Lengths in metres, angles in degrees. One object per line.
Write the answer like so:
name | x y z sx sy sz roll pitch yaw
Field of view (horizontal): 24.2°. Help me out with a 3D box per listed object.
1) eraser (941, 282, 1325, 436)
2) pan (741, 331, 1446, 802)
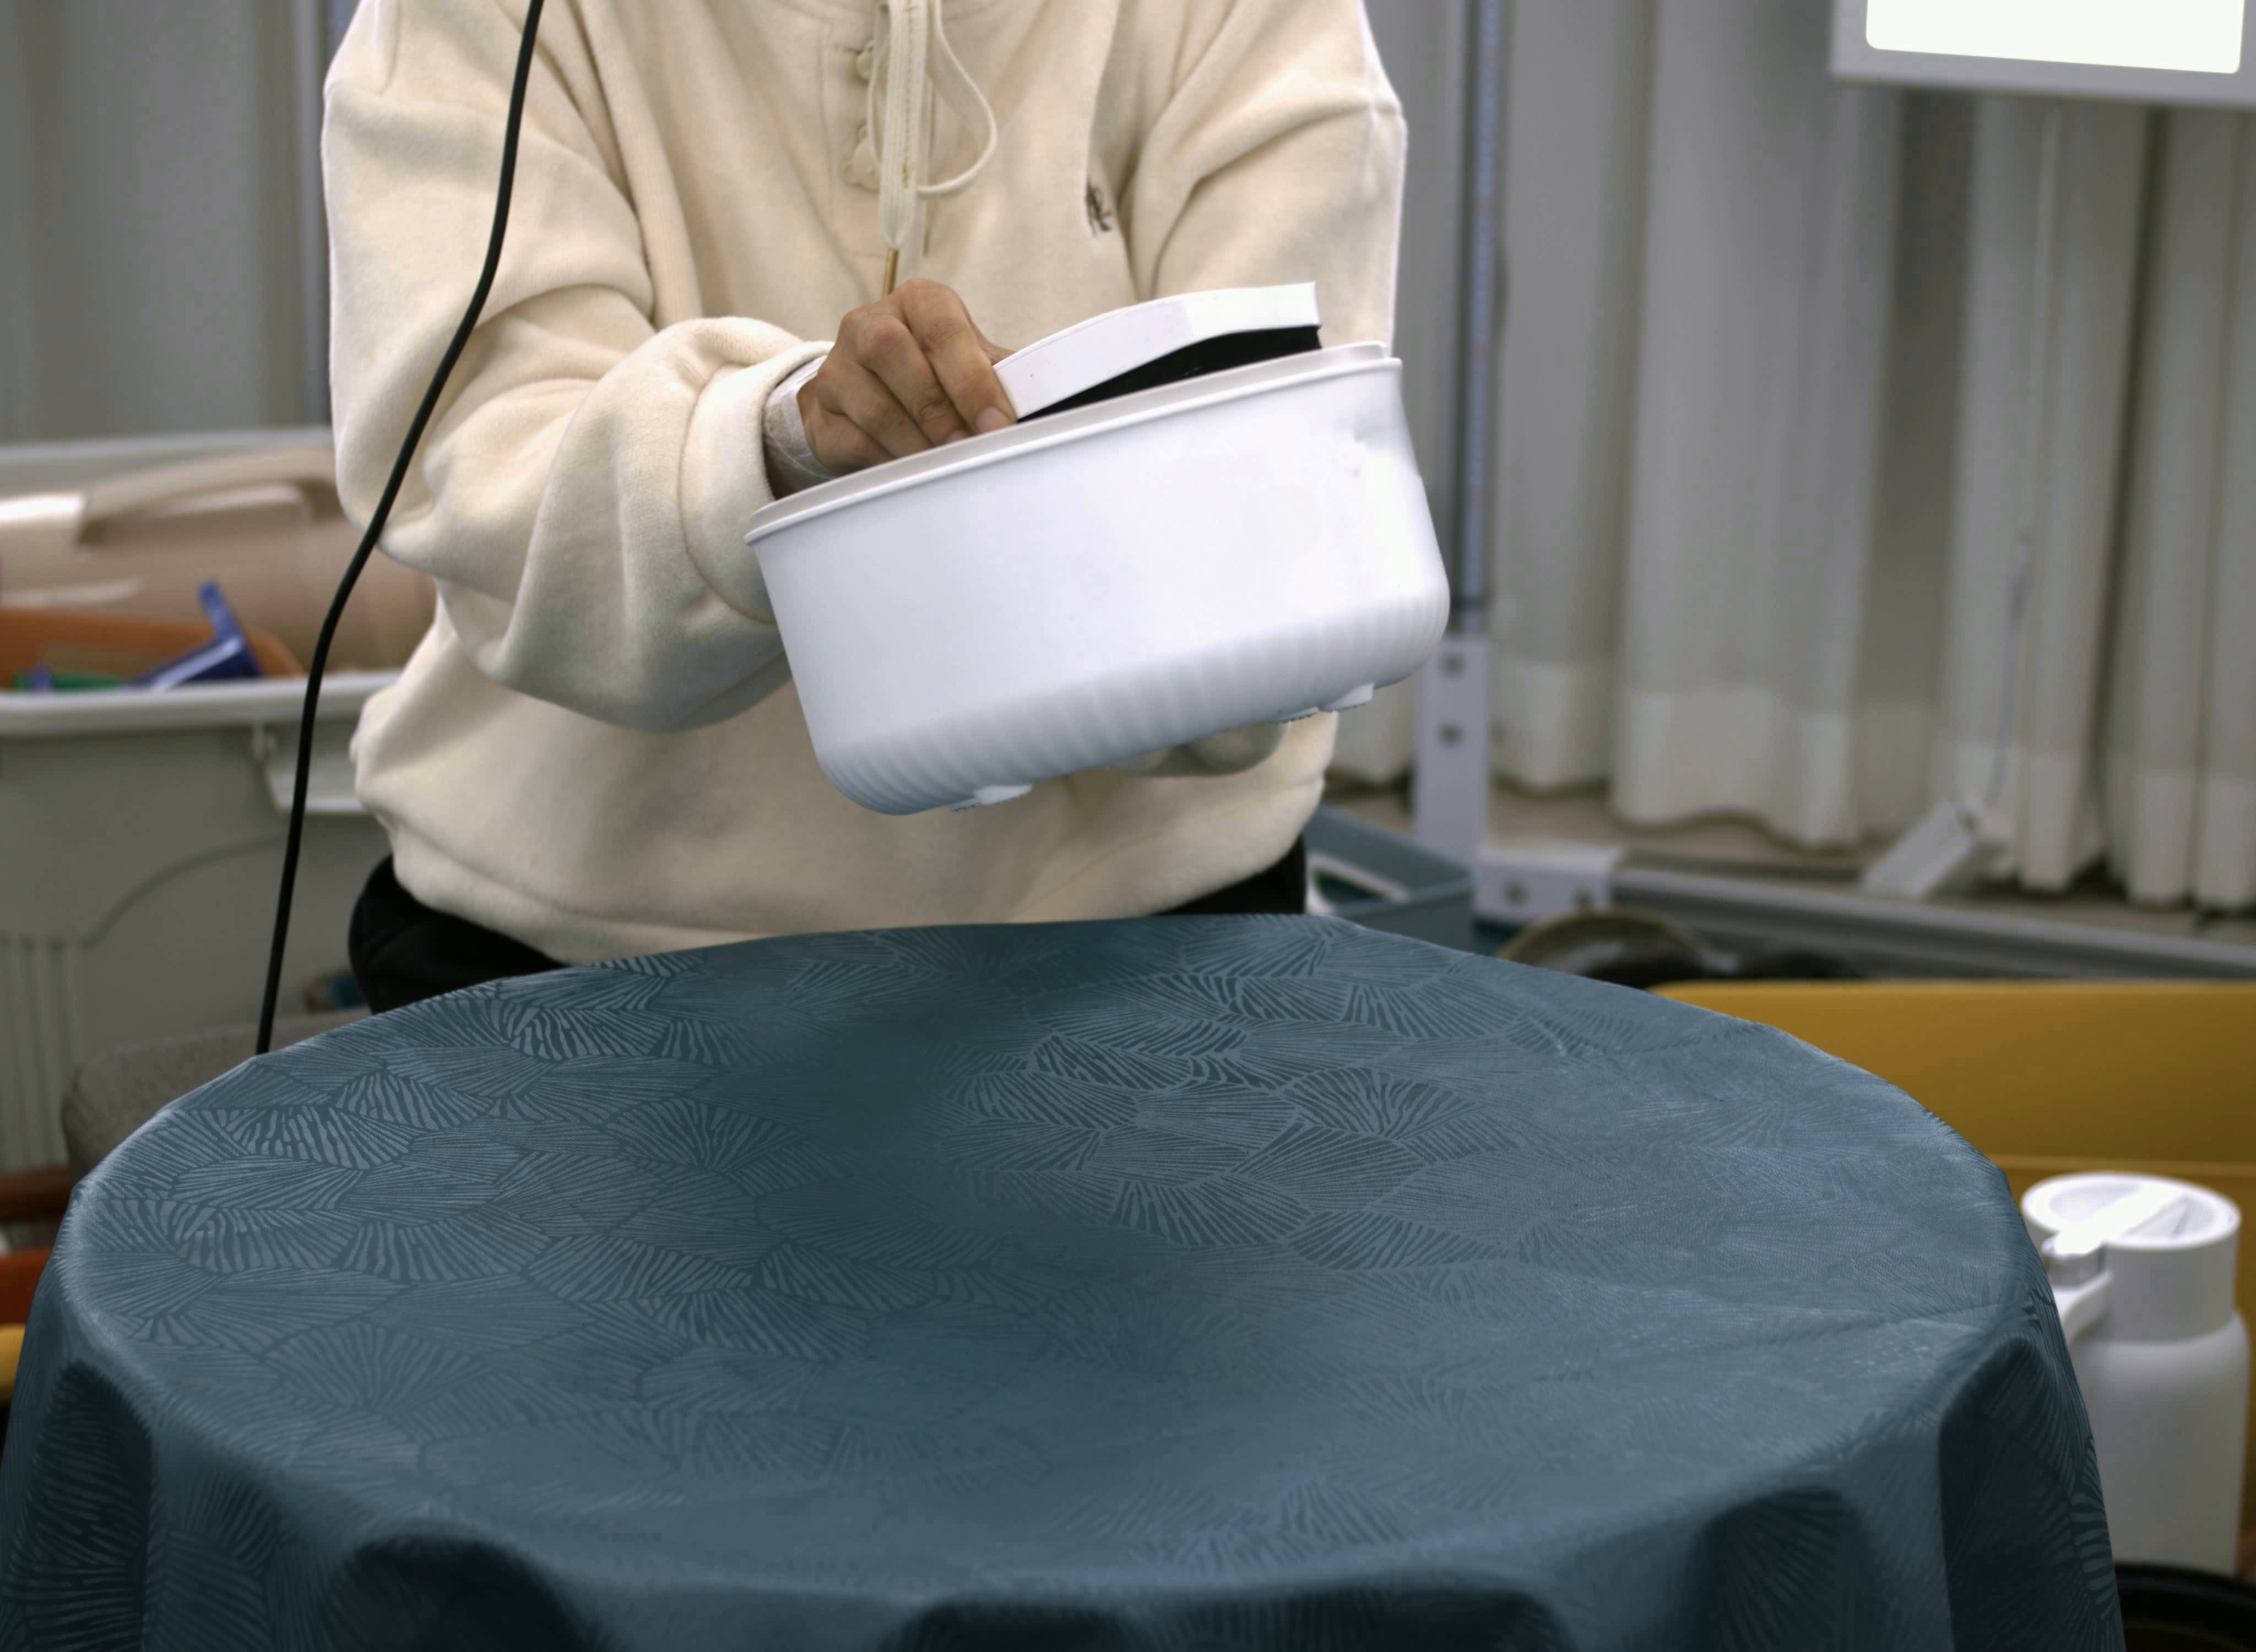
eraser | 0.002 -0.141 1.630 0.064 0.034 0.130 -8 -8 -44
pan | -0.013 -0.068 1.626 0.201 0.102 0.354 -14 -1 -6
